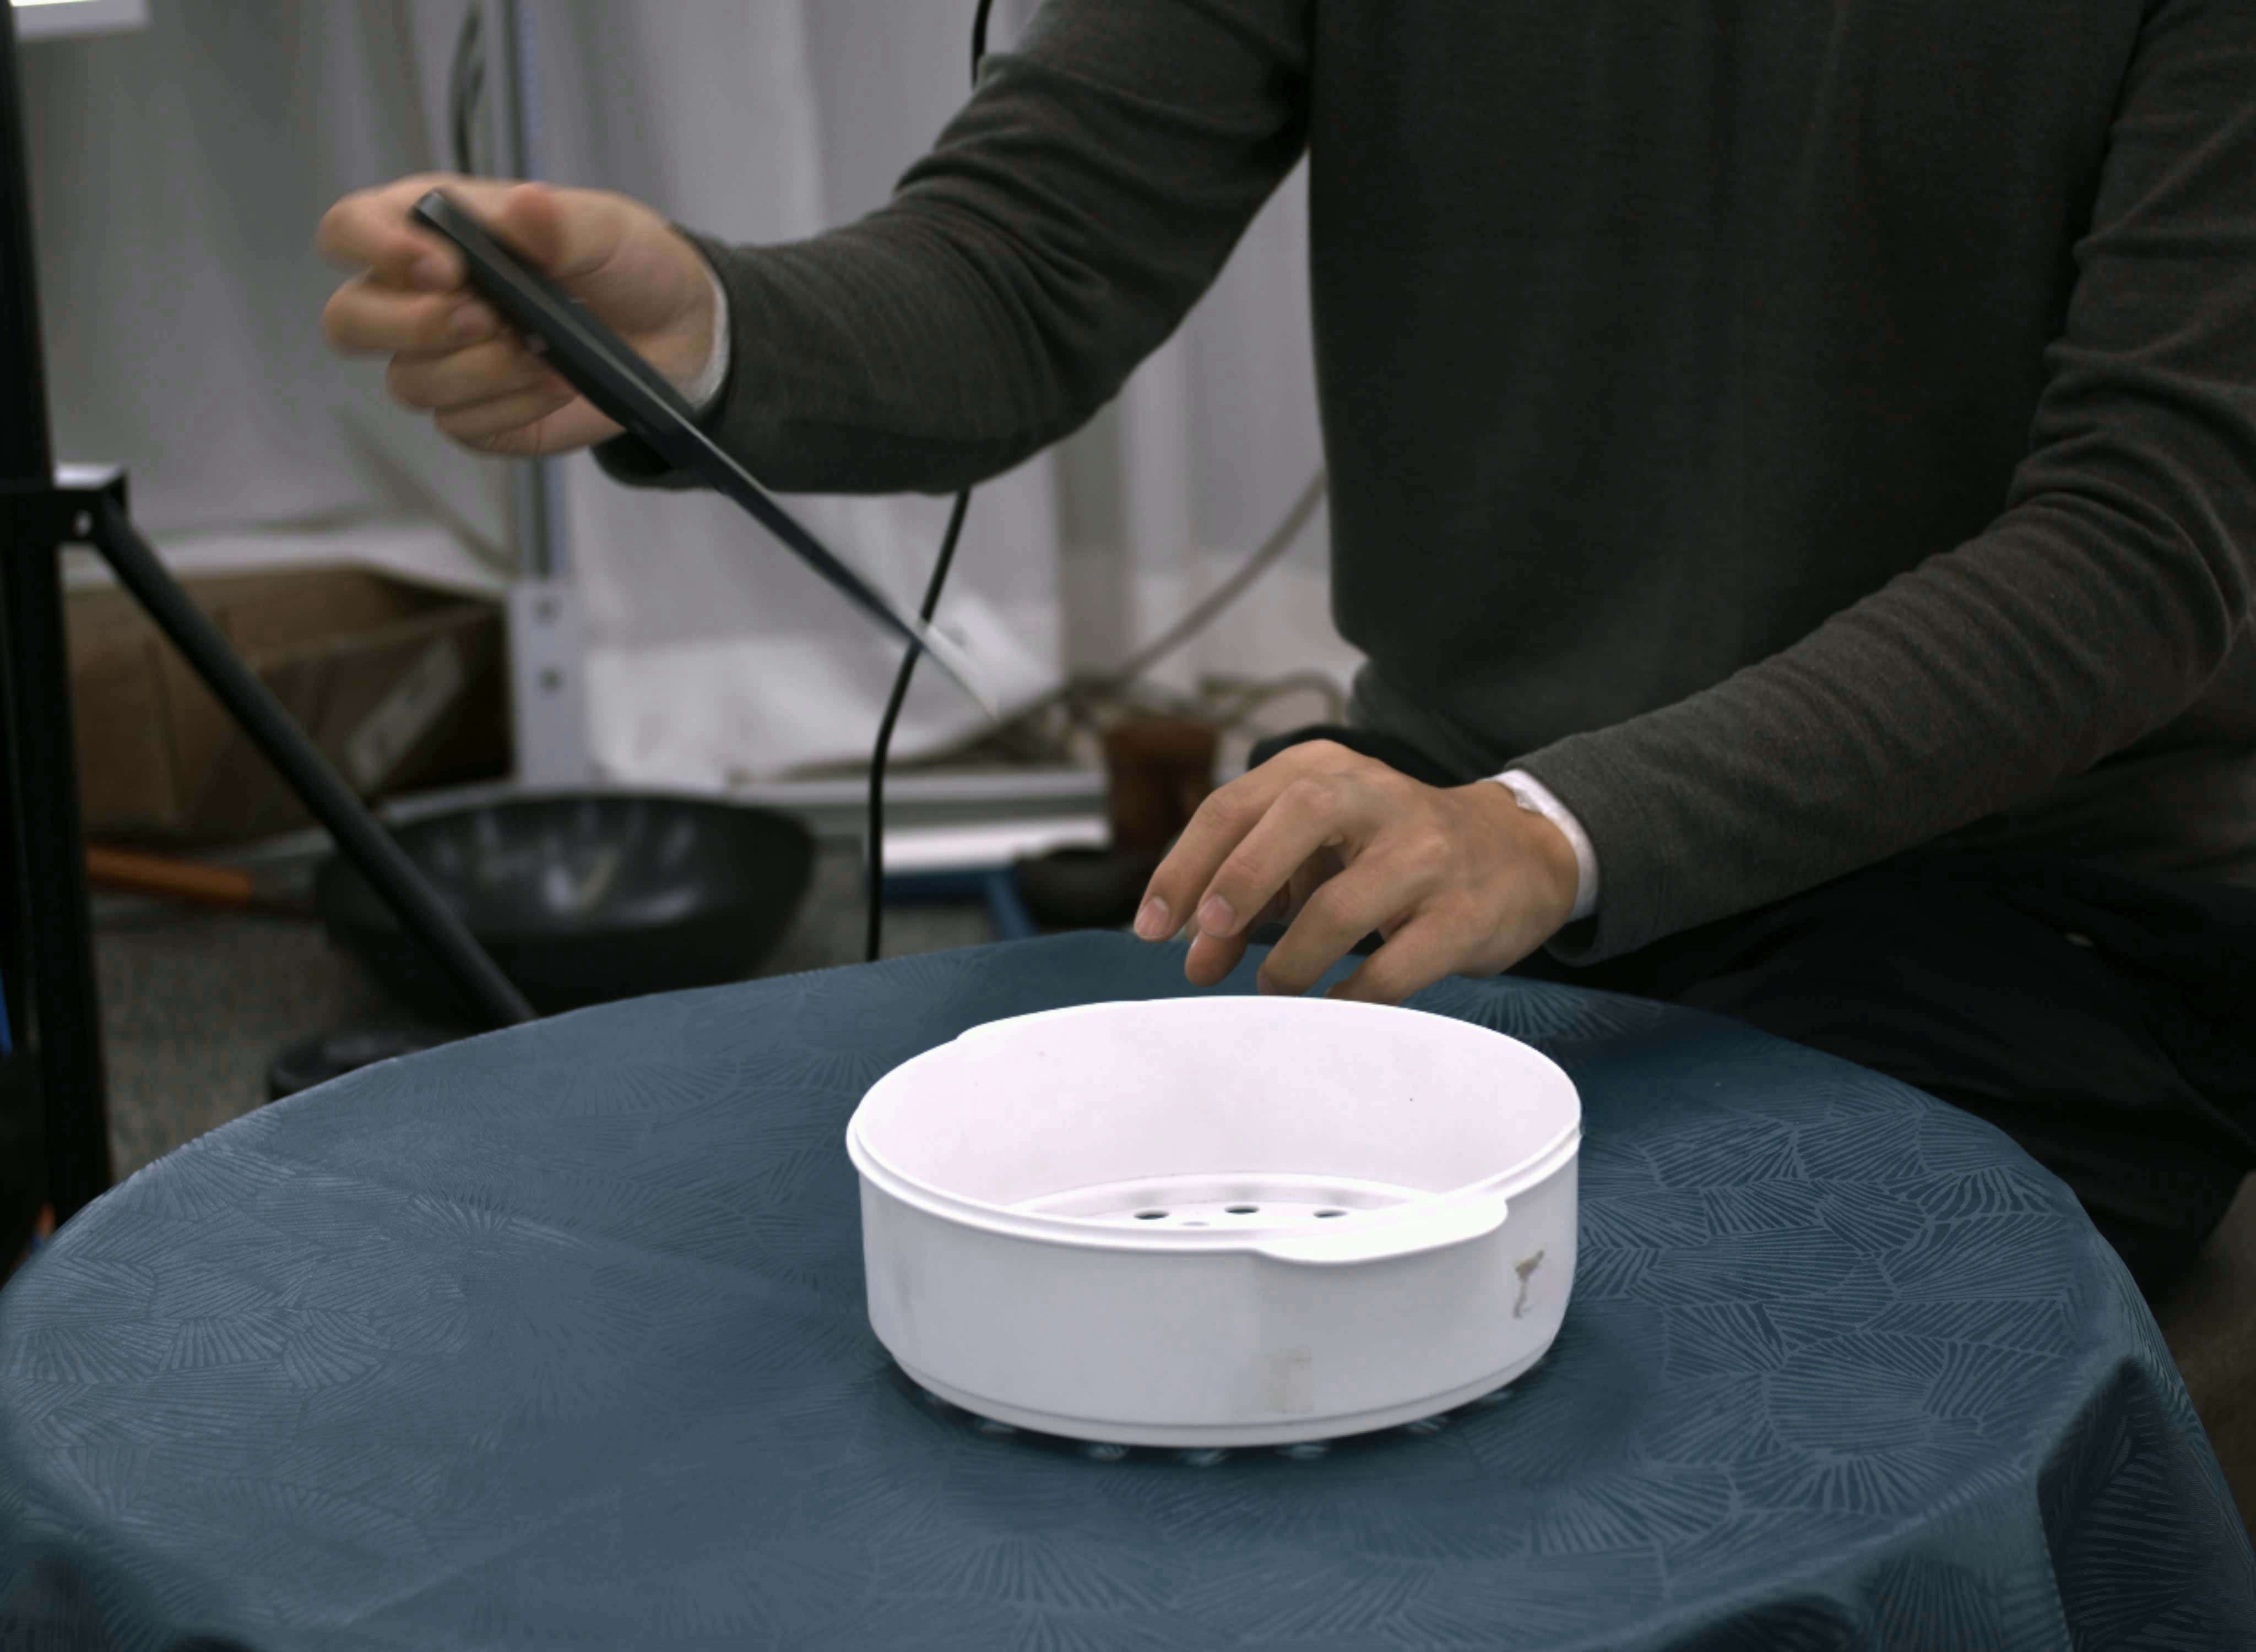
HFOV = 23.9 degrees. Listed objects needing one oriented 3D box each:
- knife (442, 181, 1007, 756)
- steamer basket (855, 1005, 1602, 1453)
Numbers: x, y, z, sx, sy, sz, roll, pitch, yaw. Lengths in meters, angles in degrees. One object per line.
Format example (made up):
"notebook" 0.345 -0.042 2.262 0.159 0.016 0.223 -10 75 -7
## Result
"knife" -0.109 -0.098 1.438 0.016 0.024 0.242 -36 64 -19
"steamer basket" 0.028 0.108 1.433 0.198 0.069 0.235 -8 16 -22
